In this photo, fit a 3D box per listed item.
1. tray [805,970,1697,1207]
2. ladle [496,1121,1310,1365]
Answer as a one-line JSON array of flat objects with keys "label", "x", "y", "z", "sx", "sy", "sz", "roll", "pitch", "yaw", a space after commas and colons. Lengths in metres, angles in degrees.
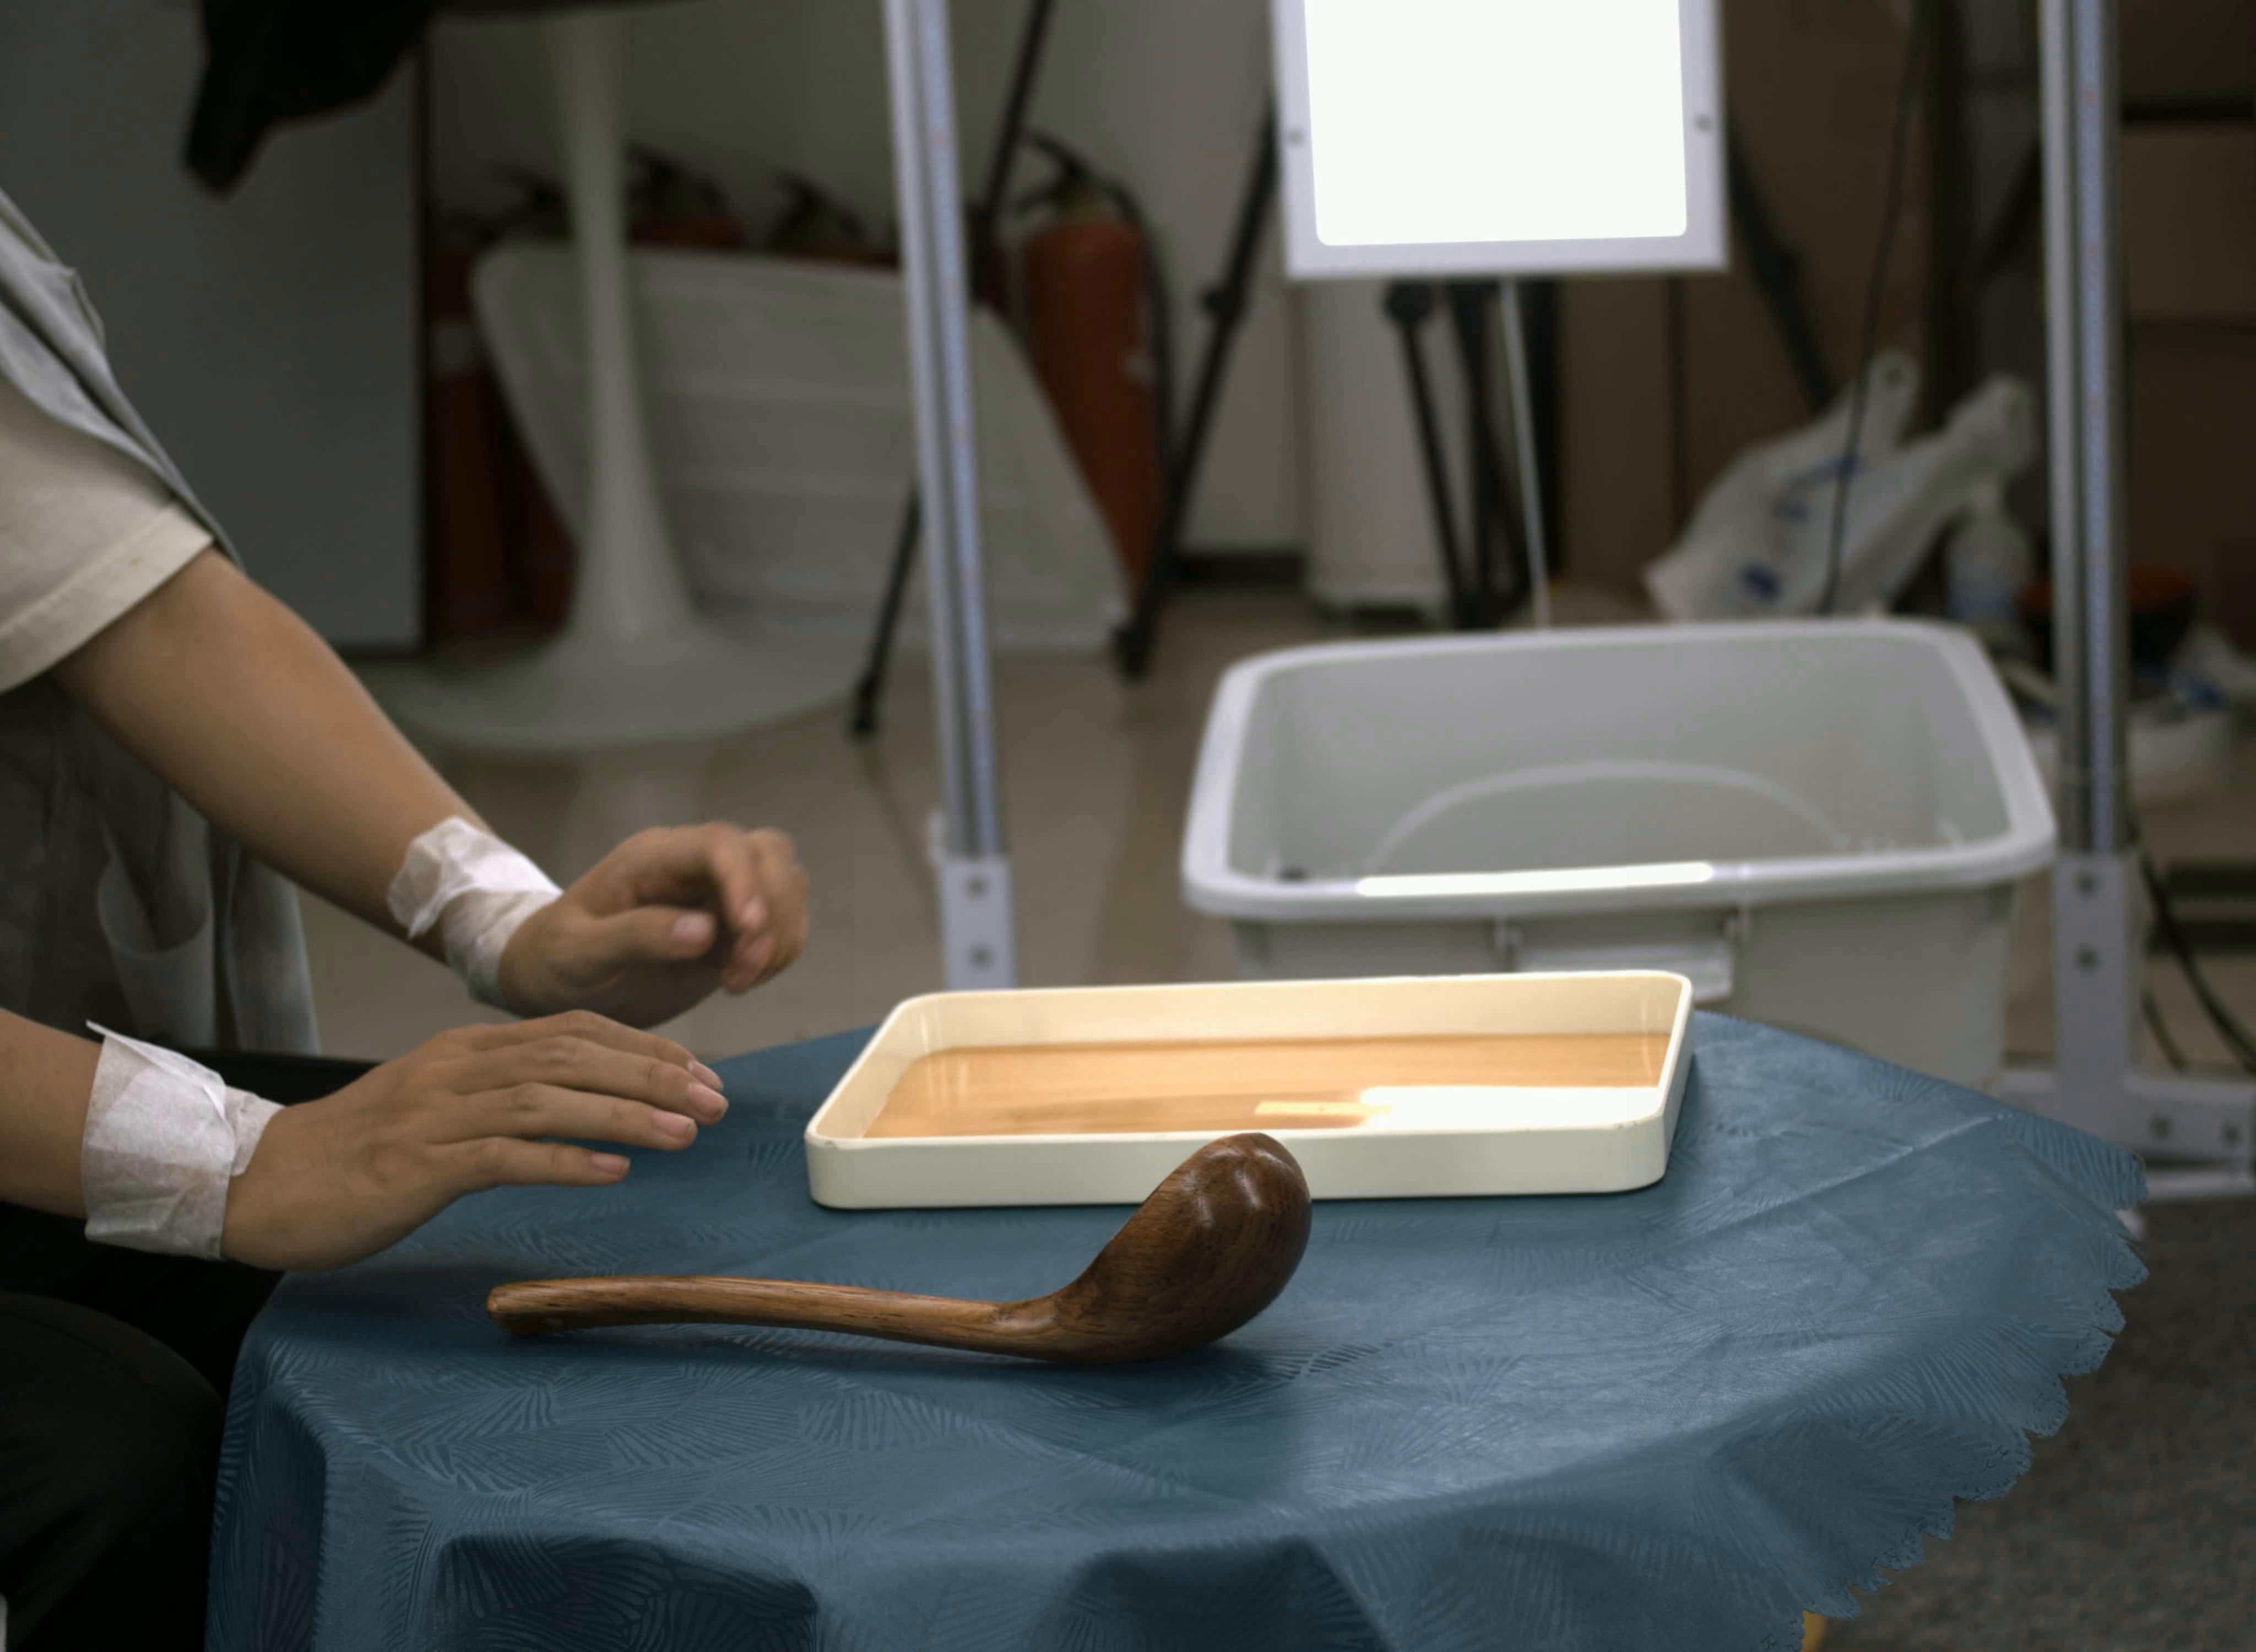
[{"label": "tray", "x": 0.048, "y": 0.093, "z": 1.960, "sx": 0.302, "sy": 0.027, "sz": 0.189, "roll": -2, "pitch": 14, "yaw": 13}, {"label": "ladle", "x": -0.074, "y": 0.131, "z": 1.759, "sx": 0.278, "sy": 0.076, "sz": 0.081, "roll": 0, "pitch": -27, "yaw": 25}]
